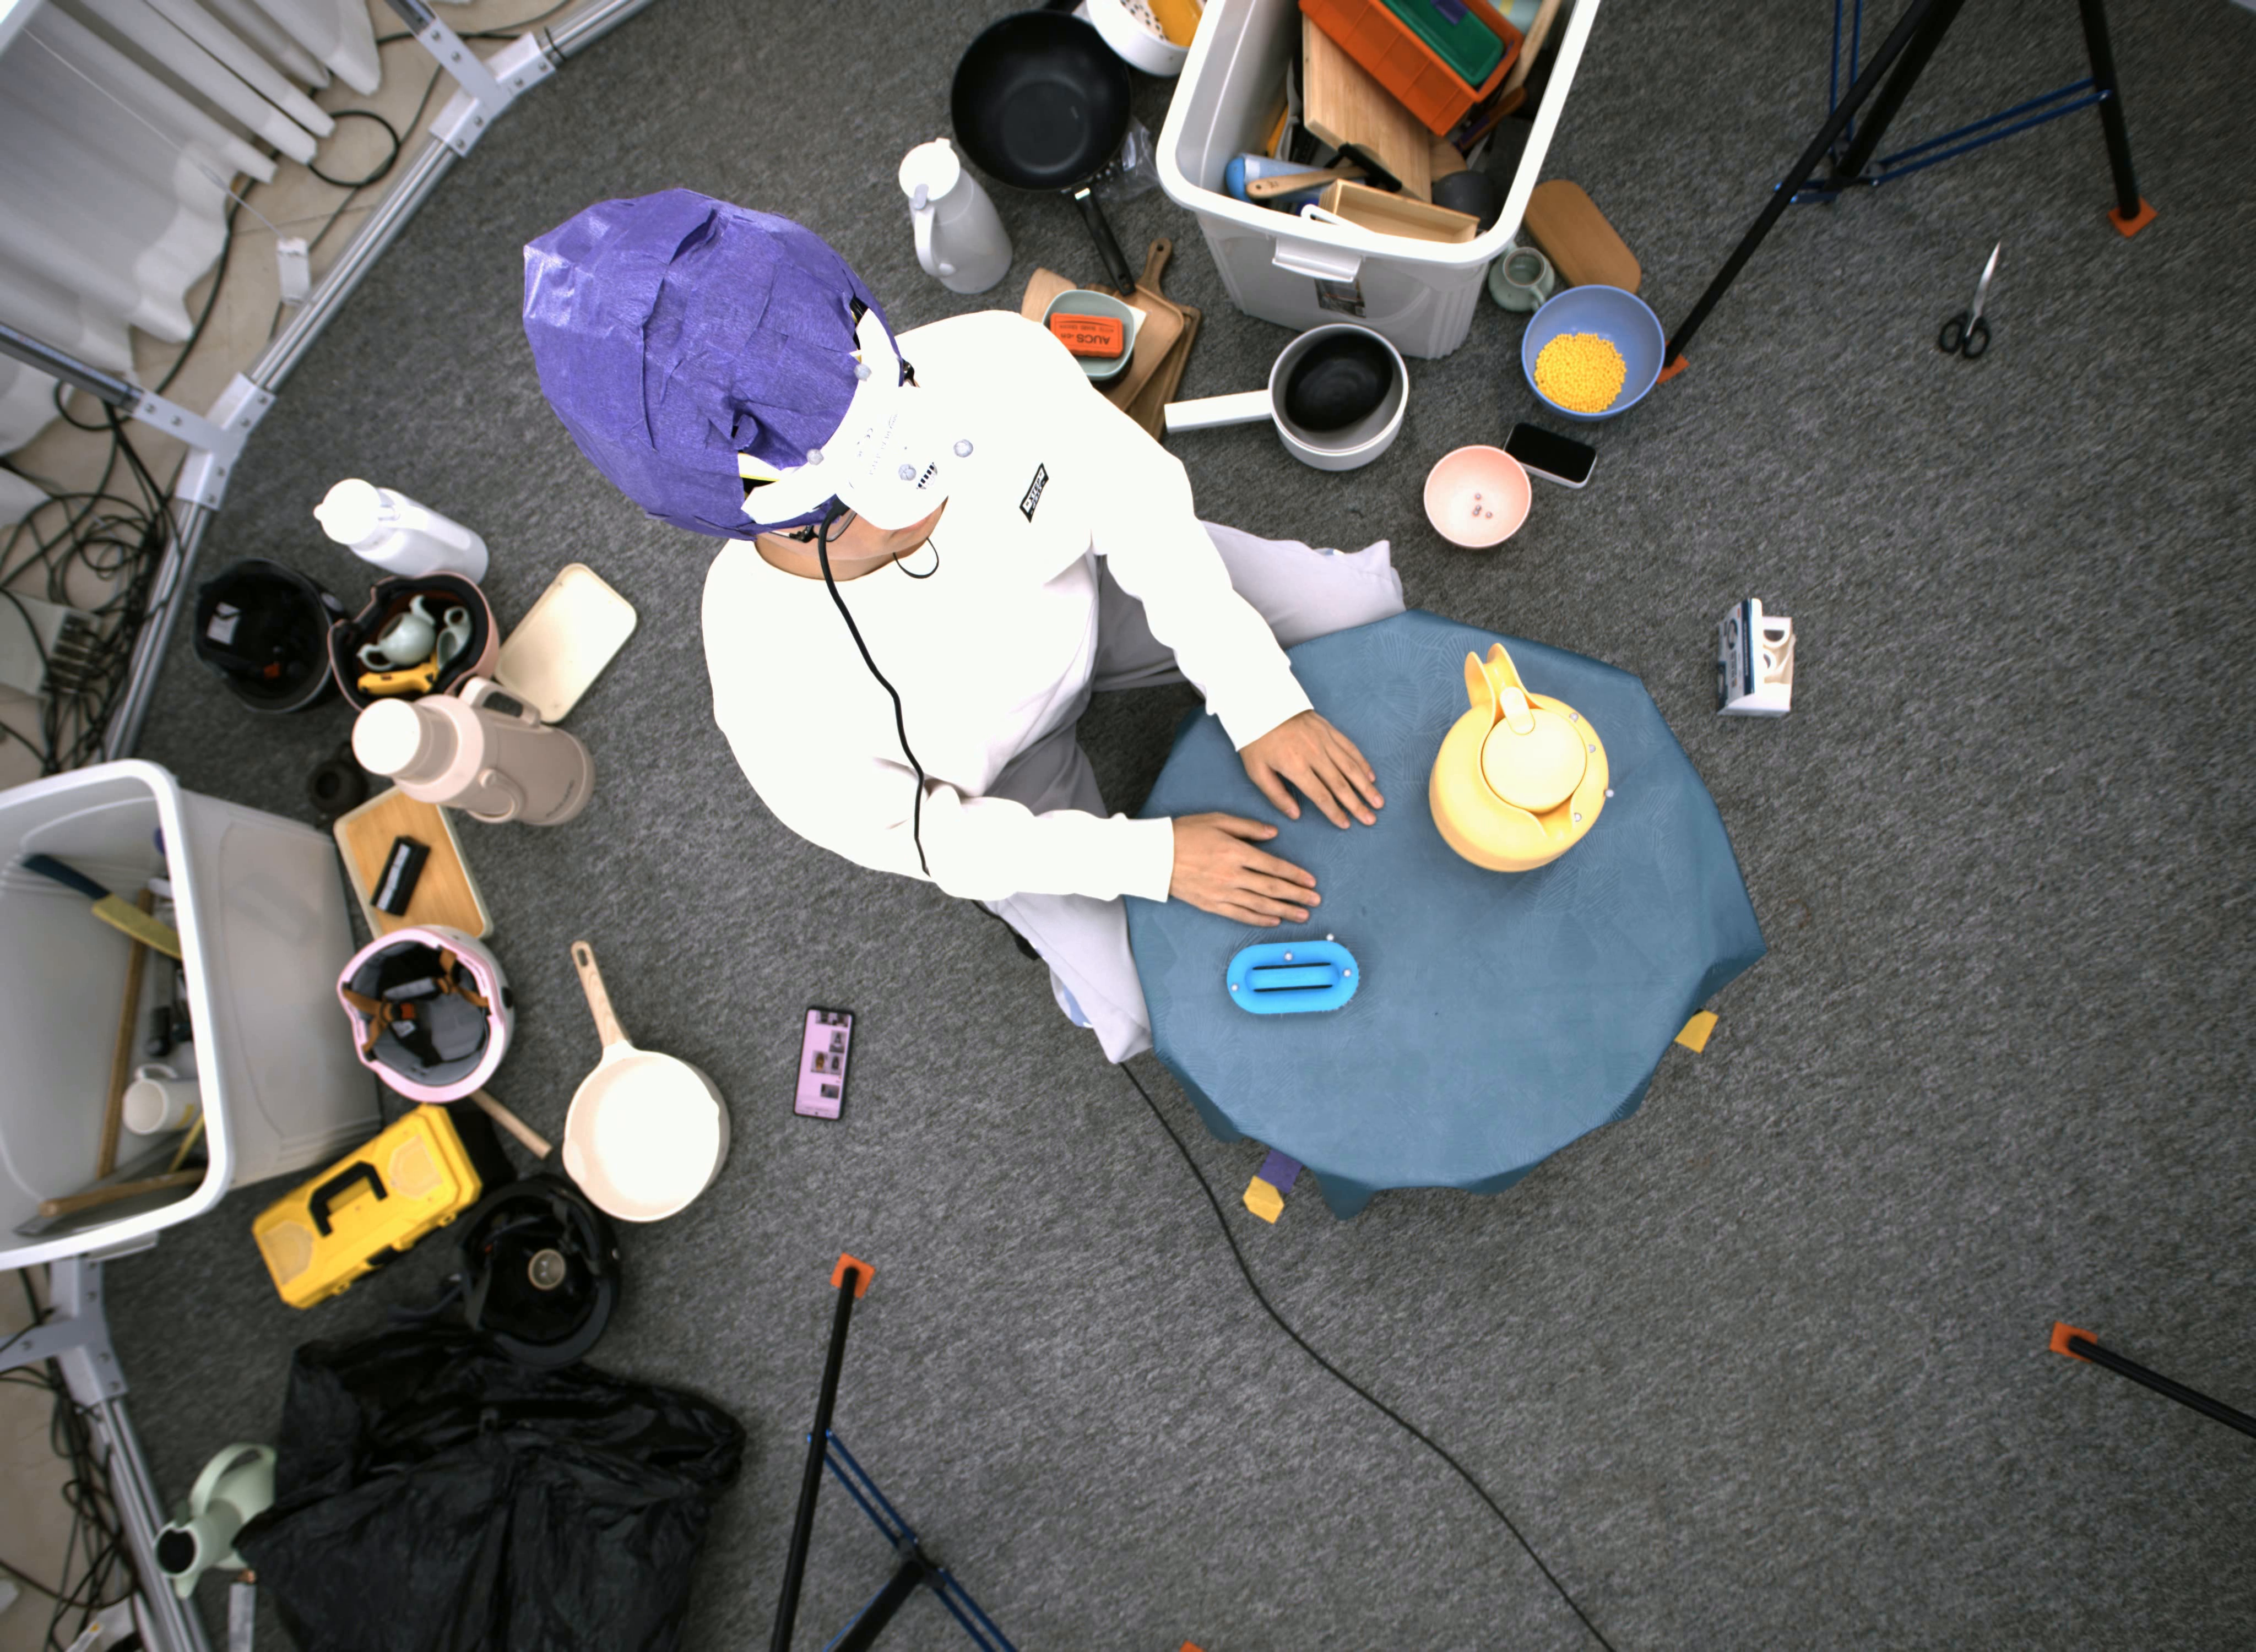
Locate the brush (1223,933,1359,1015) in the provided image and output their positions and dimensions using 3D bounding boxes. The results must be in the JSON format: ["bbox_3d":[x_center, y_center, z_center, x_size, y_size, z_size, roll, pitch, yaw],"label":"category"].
[{"bbox_3d":[0.169,0.155,1.441,0.142,0.063,0.084,-3,90,11],"label":"brush"}]

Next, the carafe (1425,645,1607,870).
[{"bbox_3d":[0.369,-0.066,1.316,0.164,0.261,0.201,-17,83,6],"label":"carafe"}]
